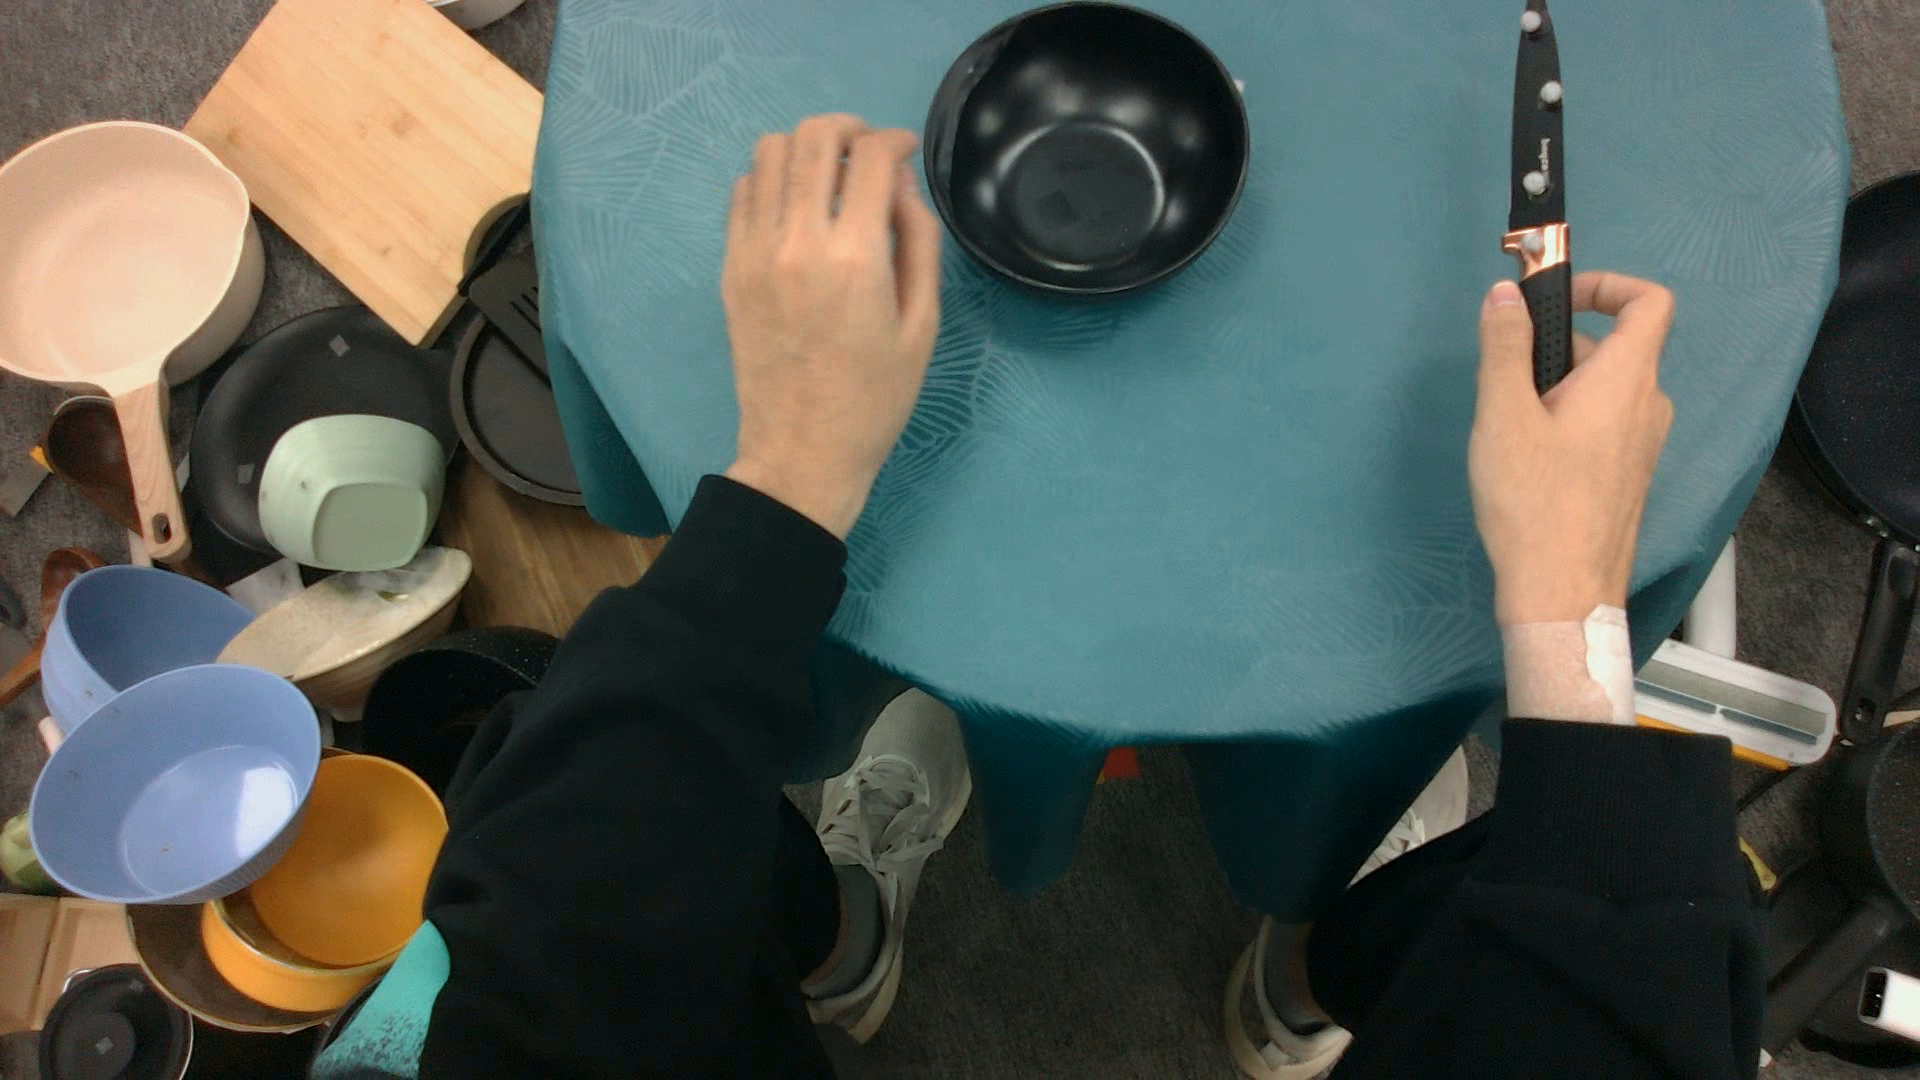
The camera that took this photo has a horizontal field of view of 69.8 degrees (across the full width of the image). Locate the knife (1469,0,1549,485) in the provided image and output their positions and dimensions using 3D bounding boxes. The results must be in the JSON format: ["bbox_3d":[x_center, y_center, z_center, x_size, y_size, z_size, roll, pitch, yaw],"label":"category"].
[{"bbox_3d":[0.224,-0.132,0.564,0.026,0.017,0.226,-5,77,32],"label":"knife"}]

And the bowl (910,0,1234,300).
[{"bbox_3d":[0.048,-0.167,0.611,0.140,0.049,0.140,0,79,1],"label":"bowl"}]
